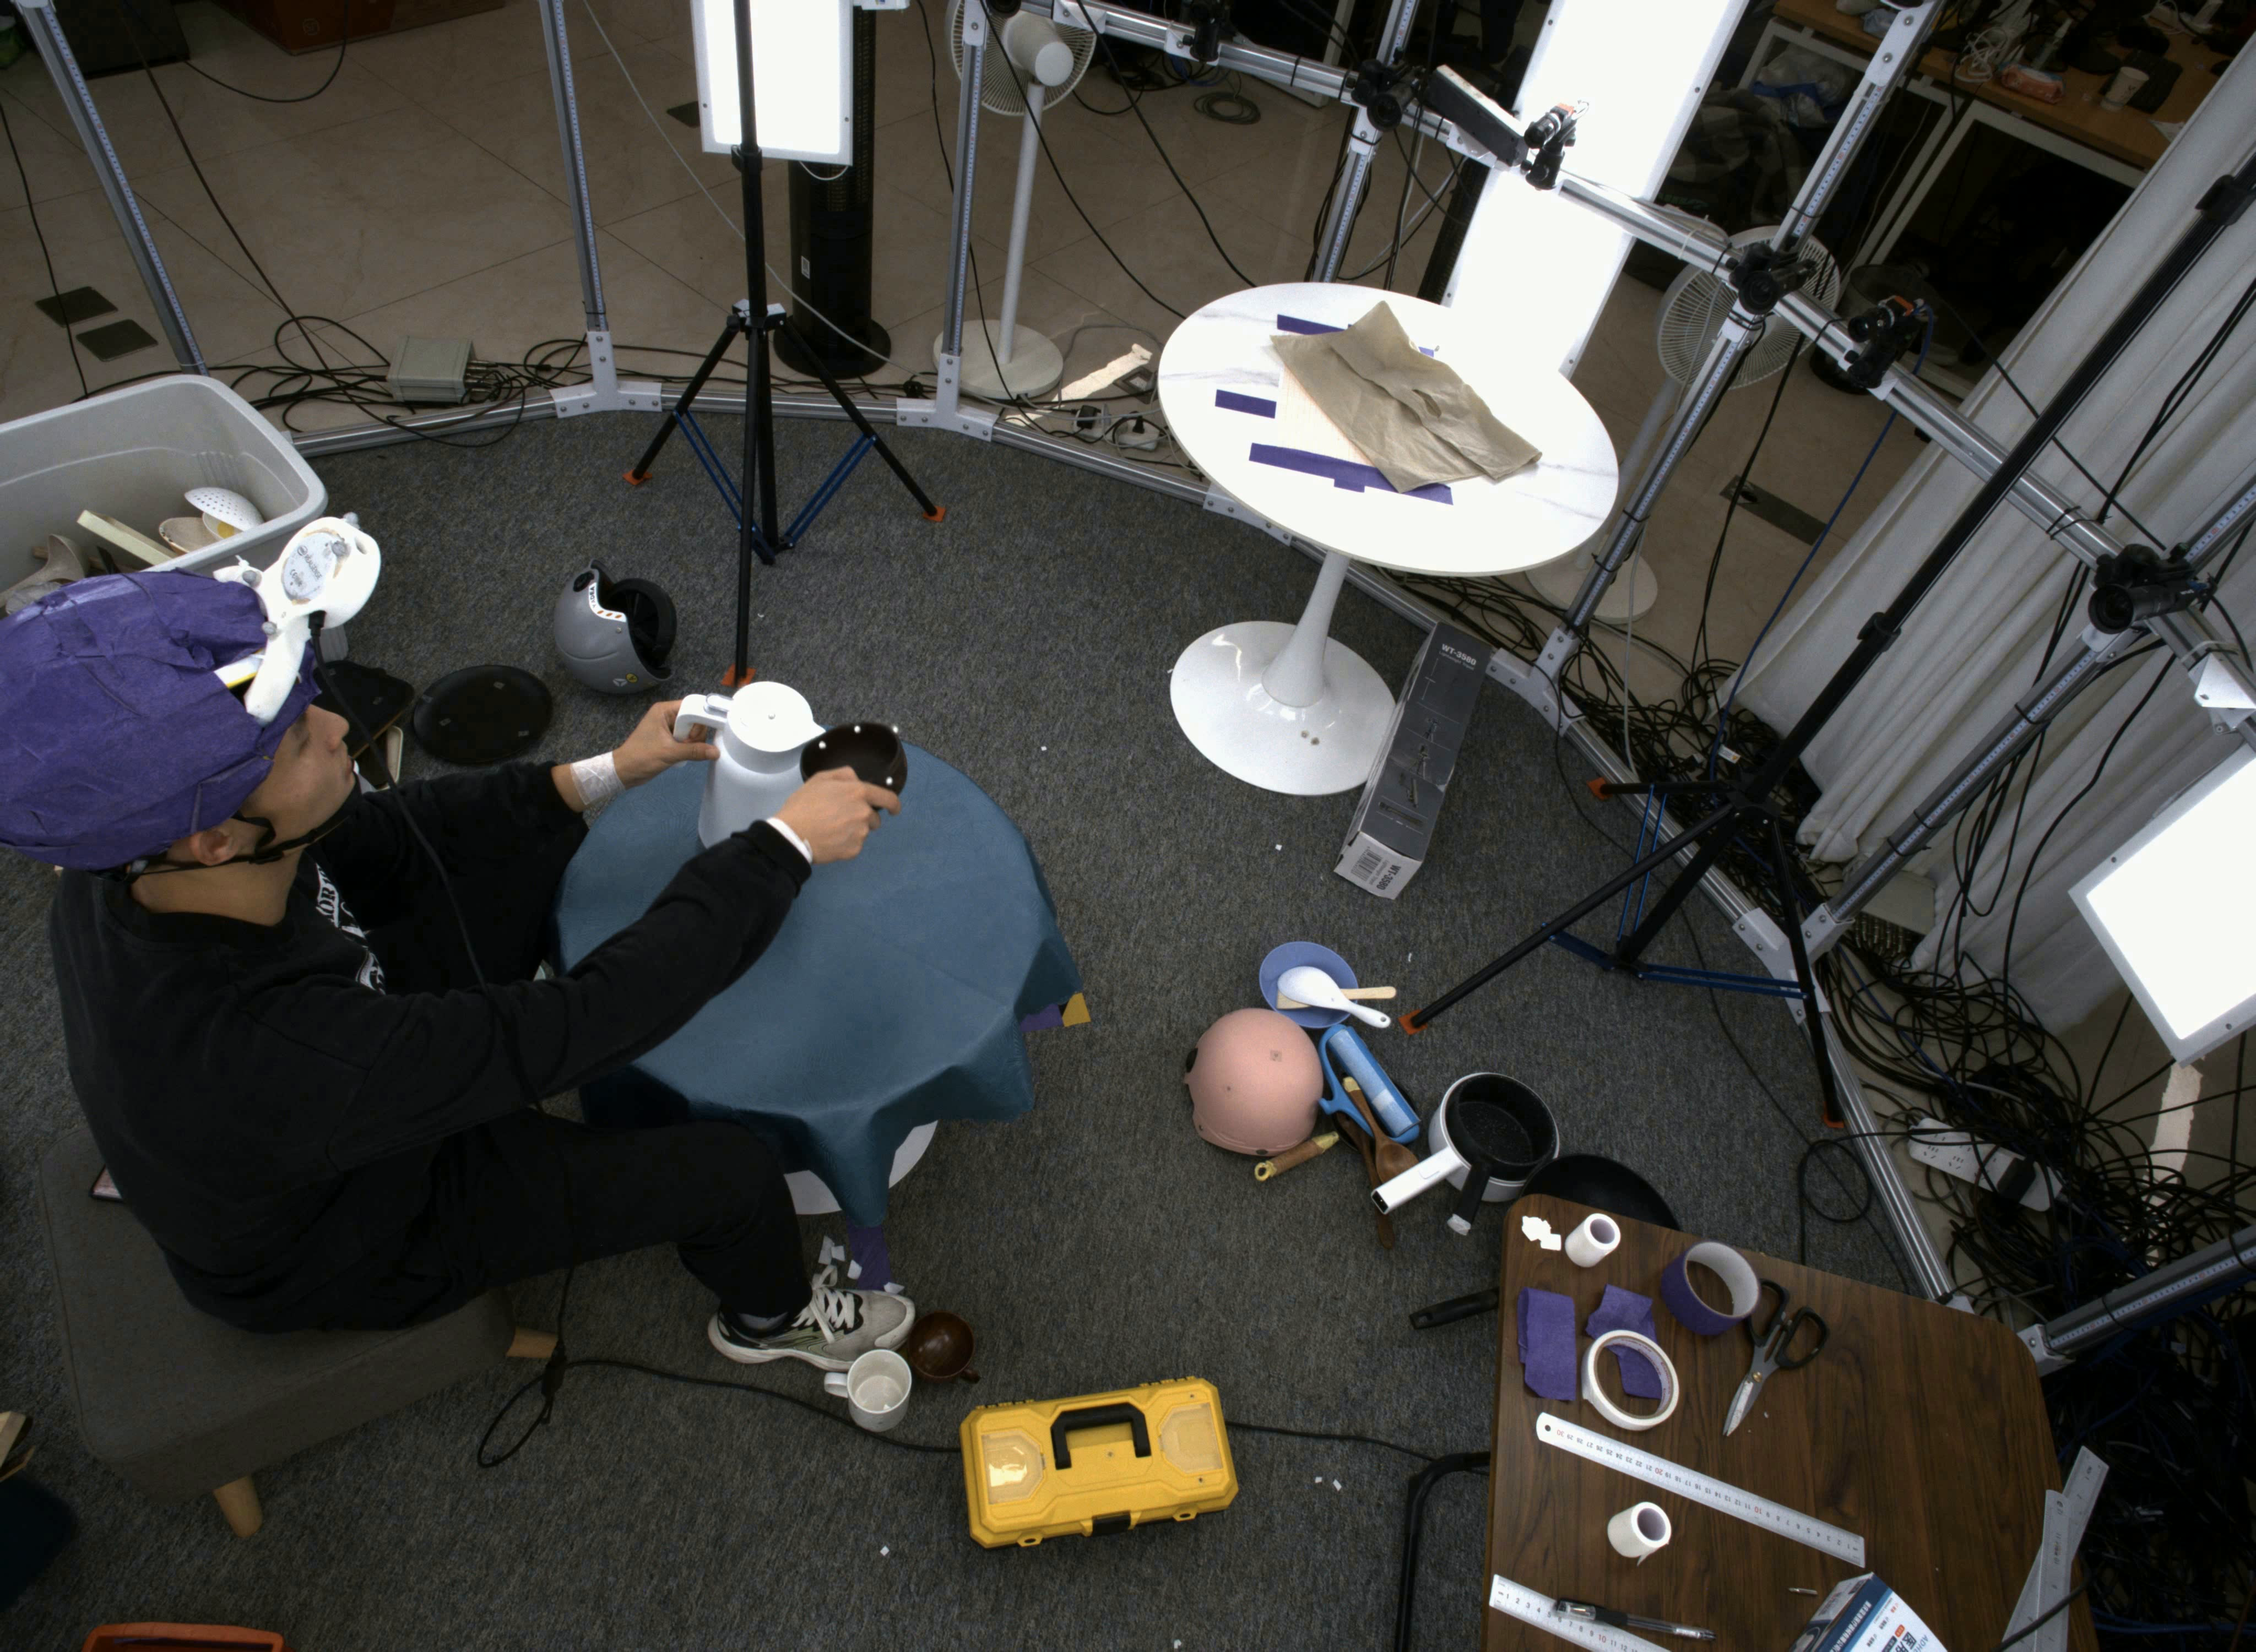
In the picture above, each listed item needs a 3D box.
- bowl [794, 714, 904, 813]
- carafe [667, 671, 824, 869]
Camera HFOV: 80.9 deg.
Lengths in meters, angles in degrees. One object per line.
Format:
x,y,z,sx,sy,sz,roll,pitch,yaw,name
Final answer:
-0.305,-0.061,1.441,0.116,0.072,0.115,-3,46,5,bowl
-0.473,-0.067,1.573,0.174,0.270,0.122,14,56,-15,carafe
